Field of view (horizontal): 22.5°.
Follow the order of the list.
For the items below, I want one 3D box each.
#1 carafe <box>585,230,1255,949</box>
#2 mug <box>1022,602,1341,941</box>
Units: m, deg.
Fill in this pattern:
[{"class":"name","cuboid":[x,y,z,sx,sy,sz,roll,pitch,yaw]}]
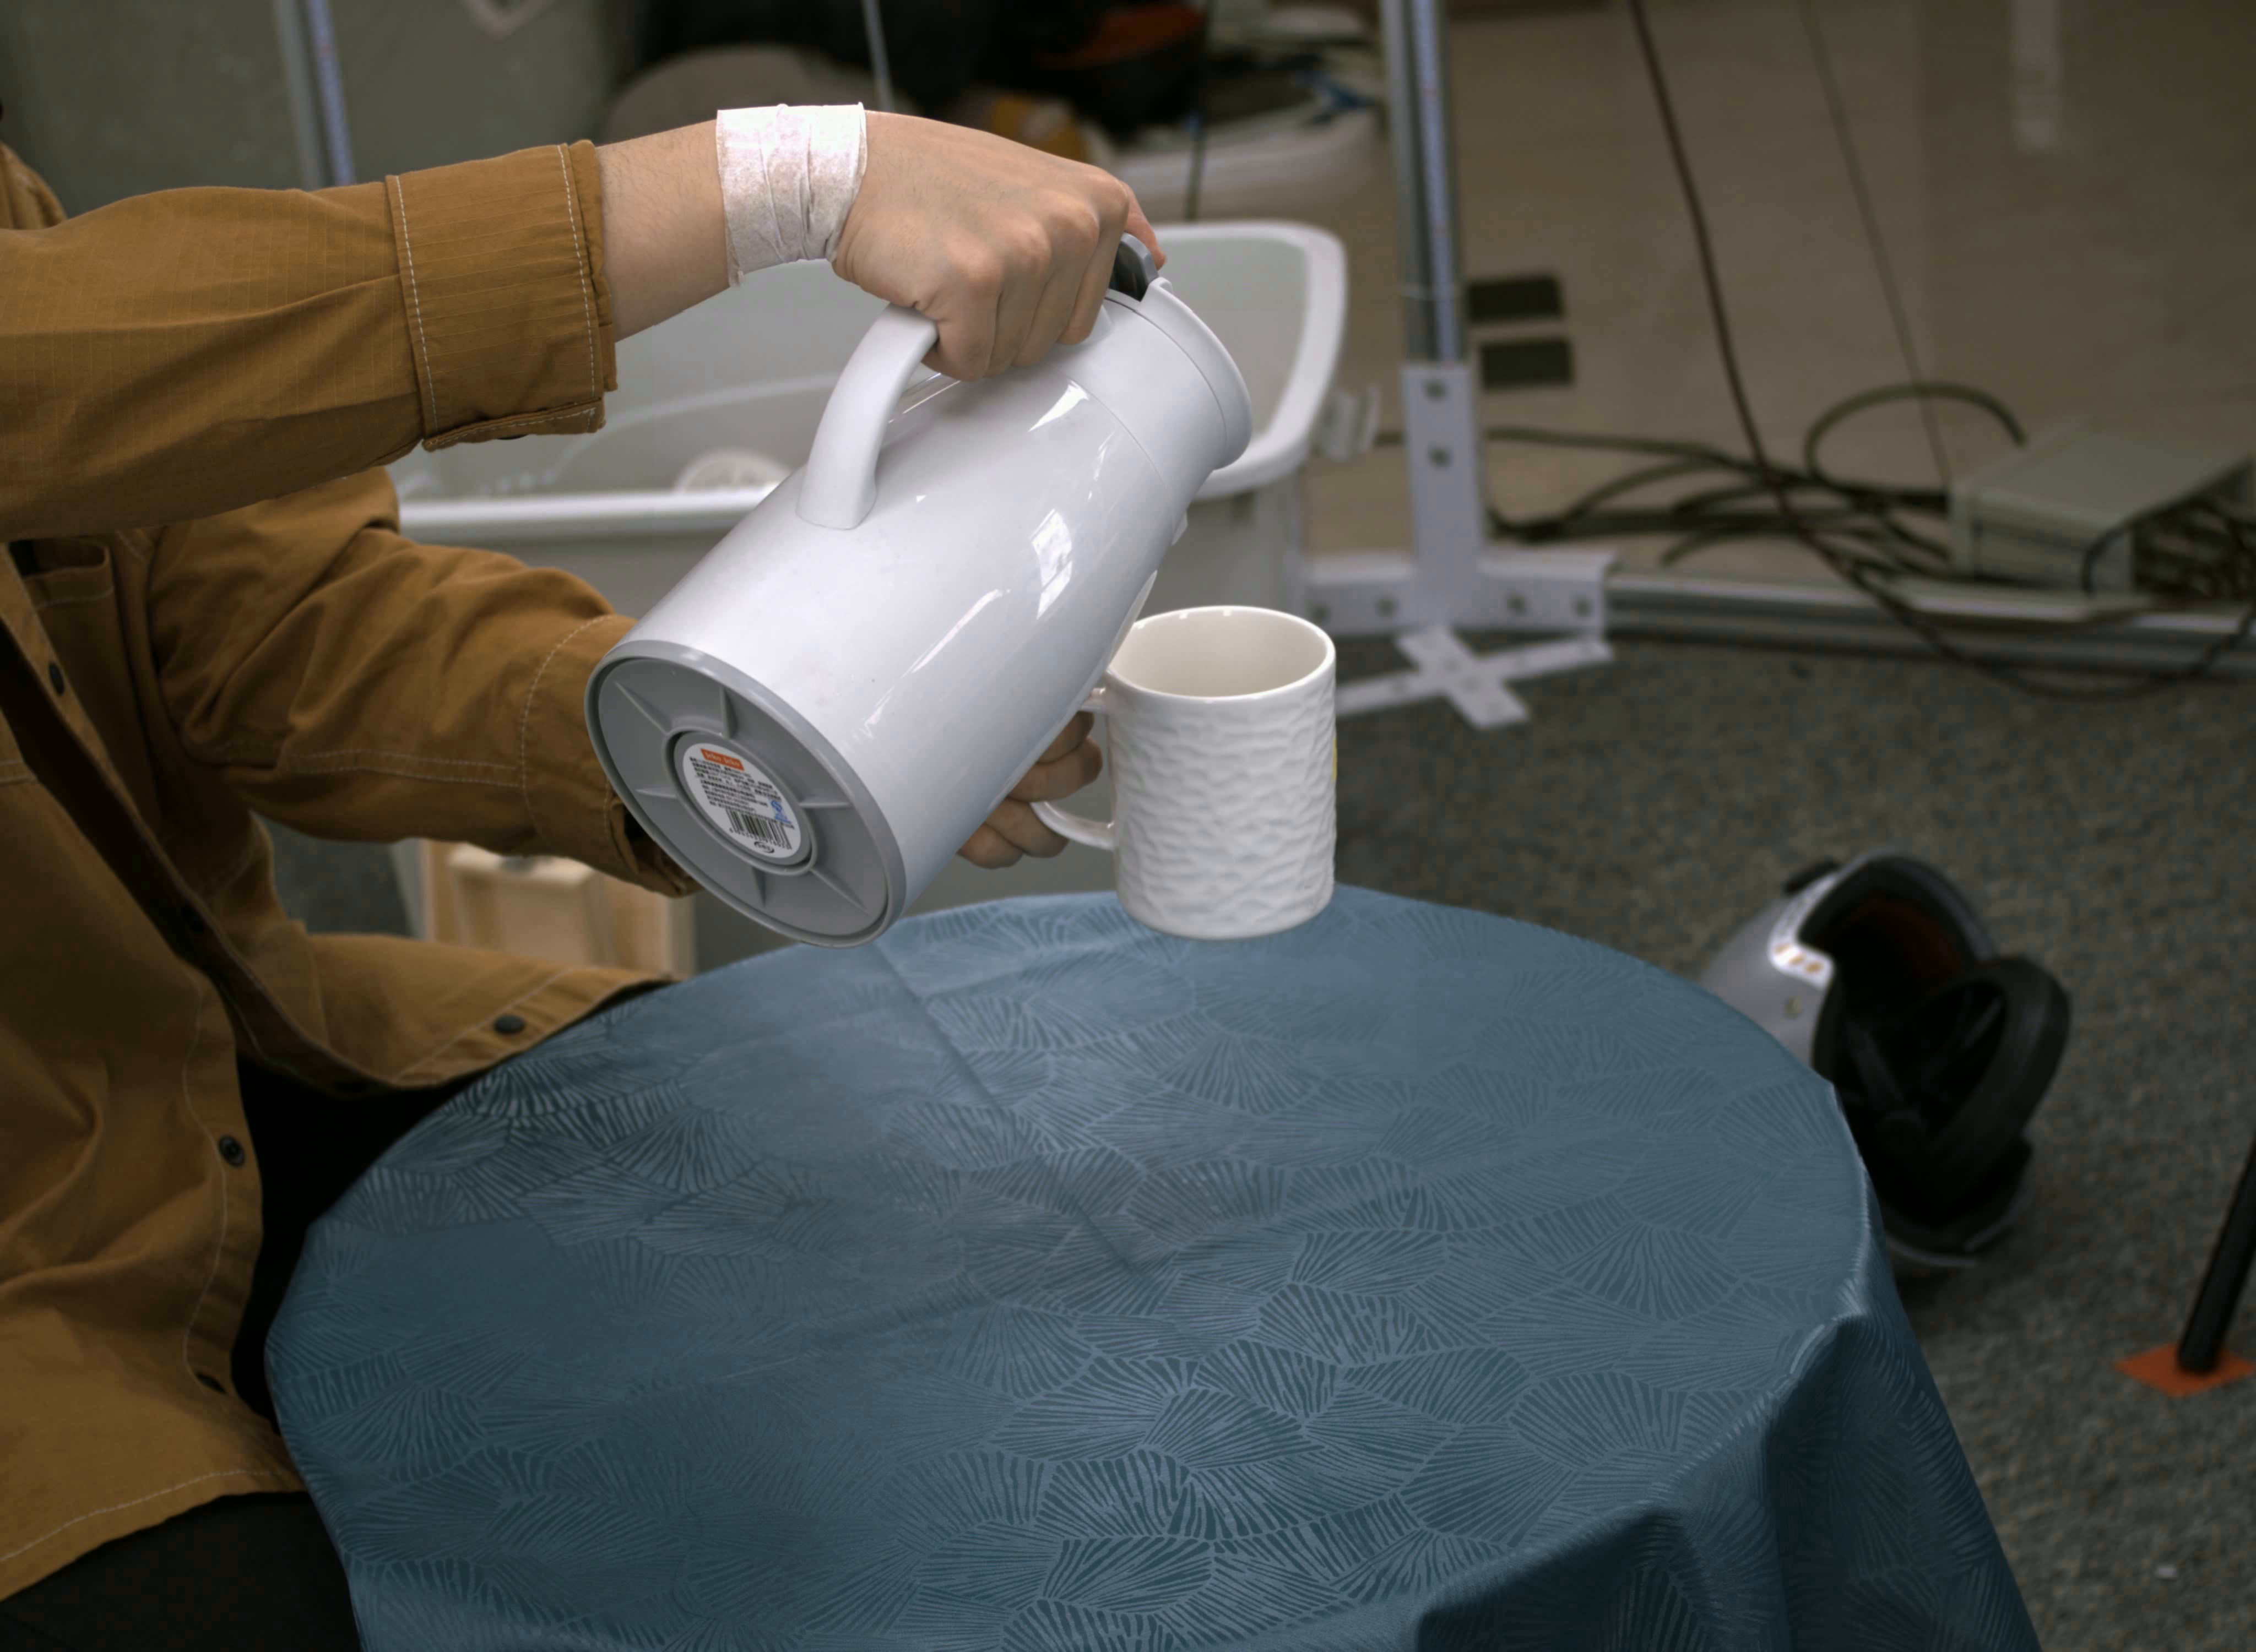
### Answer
[{"class":"carafe","cuboid":[-0.063,-0.100,1.944,0.131,0.171,0.246,22,56,33]},{"class":"mug","cuboid":[0.020,-0.020,2.098,0.118,0.104,0.083,1,28,3]}]
